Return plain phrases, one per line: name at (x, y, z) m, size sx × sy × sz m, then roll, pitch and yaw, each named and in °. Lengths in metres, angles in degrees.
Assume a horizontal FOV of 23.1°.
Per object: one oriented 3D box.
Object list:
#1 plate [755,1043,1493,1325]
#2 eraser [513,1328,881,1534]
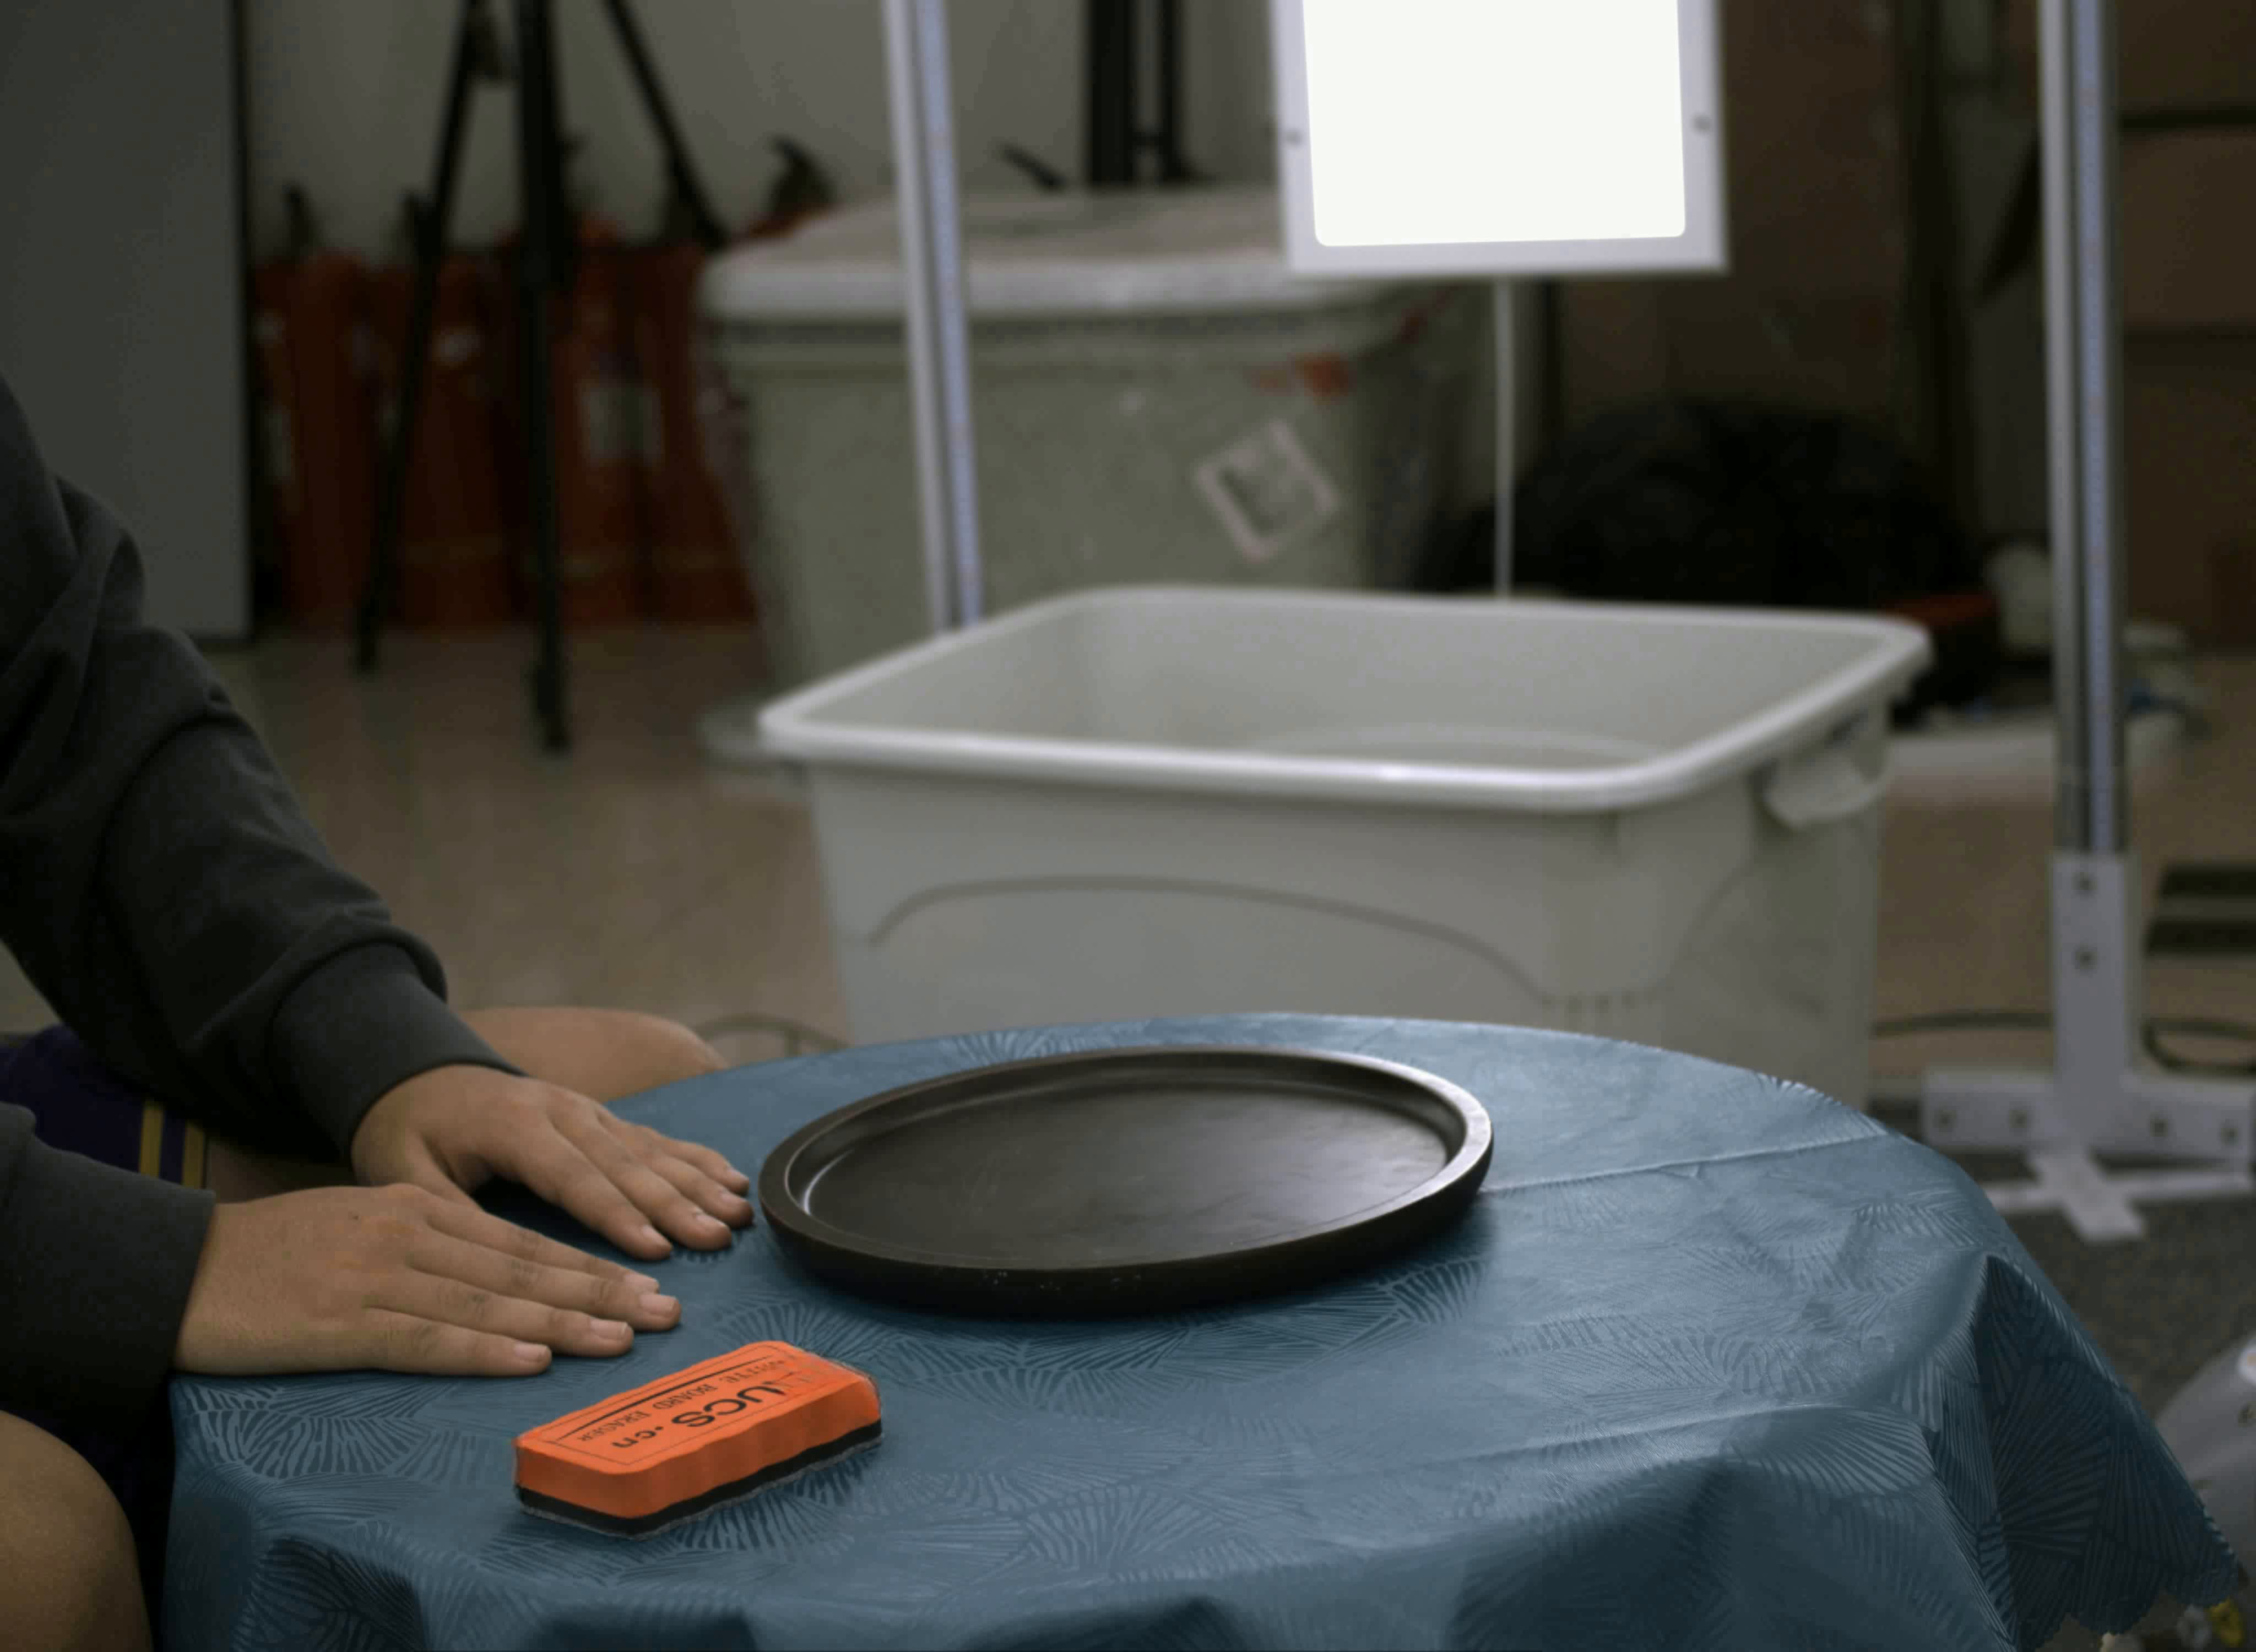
plate at (-0.001, 0.120, 1.876) m, size 0.254 × 0.029 × 0.254 m, roll -5°, pitch 15°, yaw 0°
eraser at (-0.129, 0.181, 1.659) m, size 0.105 × 0.023 × 0.060 m, roll -19°, pitch 20°, yaw -42°
